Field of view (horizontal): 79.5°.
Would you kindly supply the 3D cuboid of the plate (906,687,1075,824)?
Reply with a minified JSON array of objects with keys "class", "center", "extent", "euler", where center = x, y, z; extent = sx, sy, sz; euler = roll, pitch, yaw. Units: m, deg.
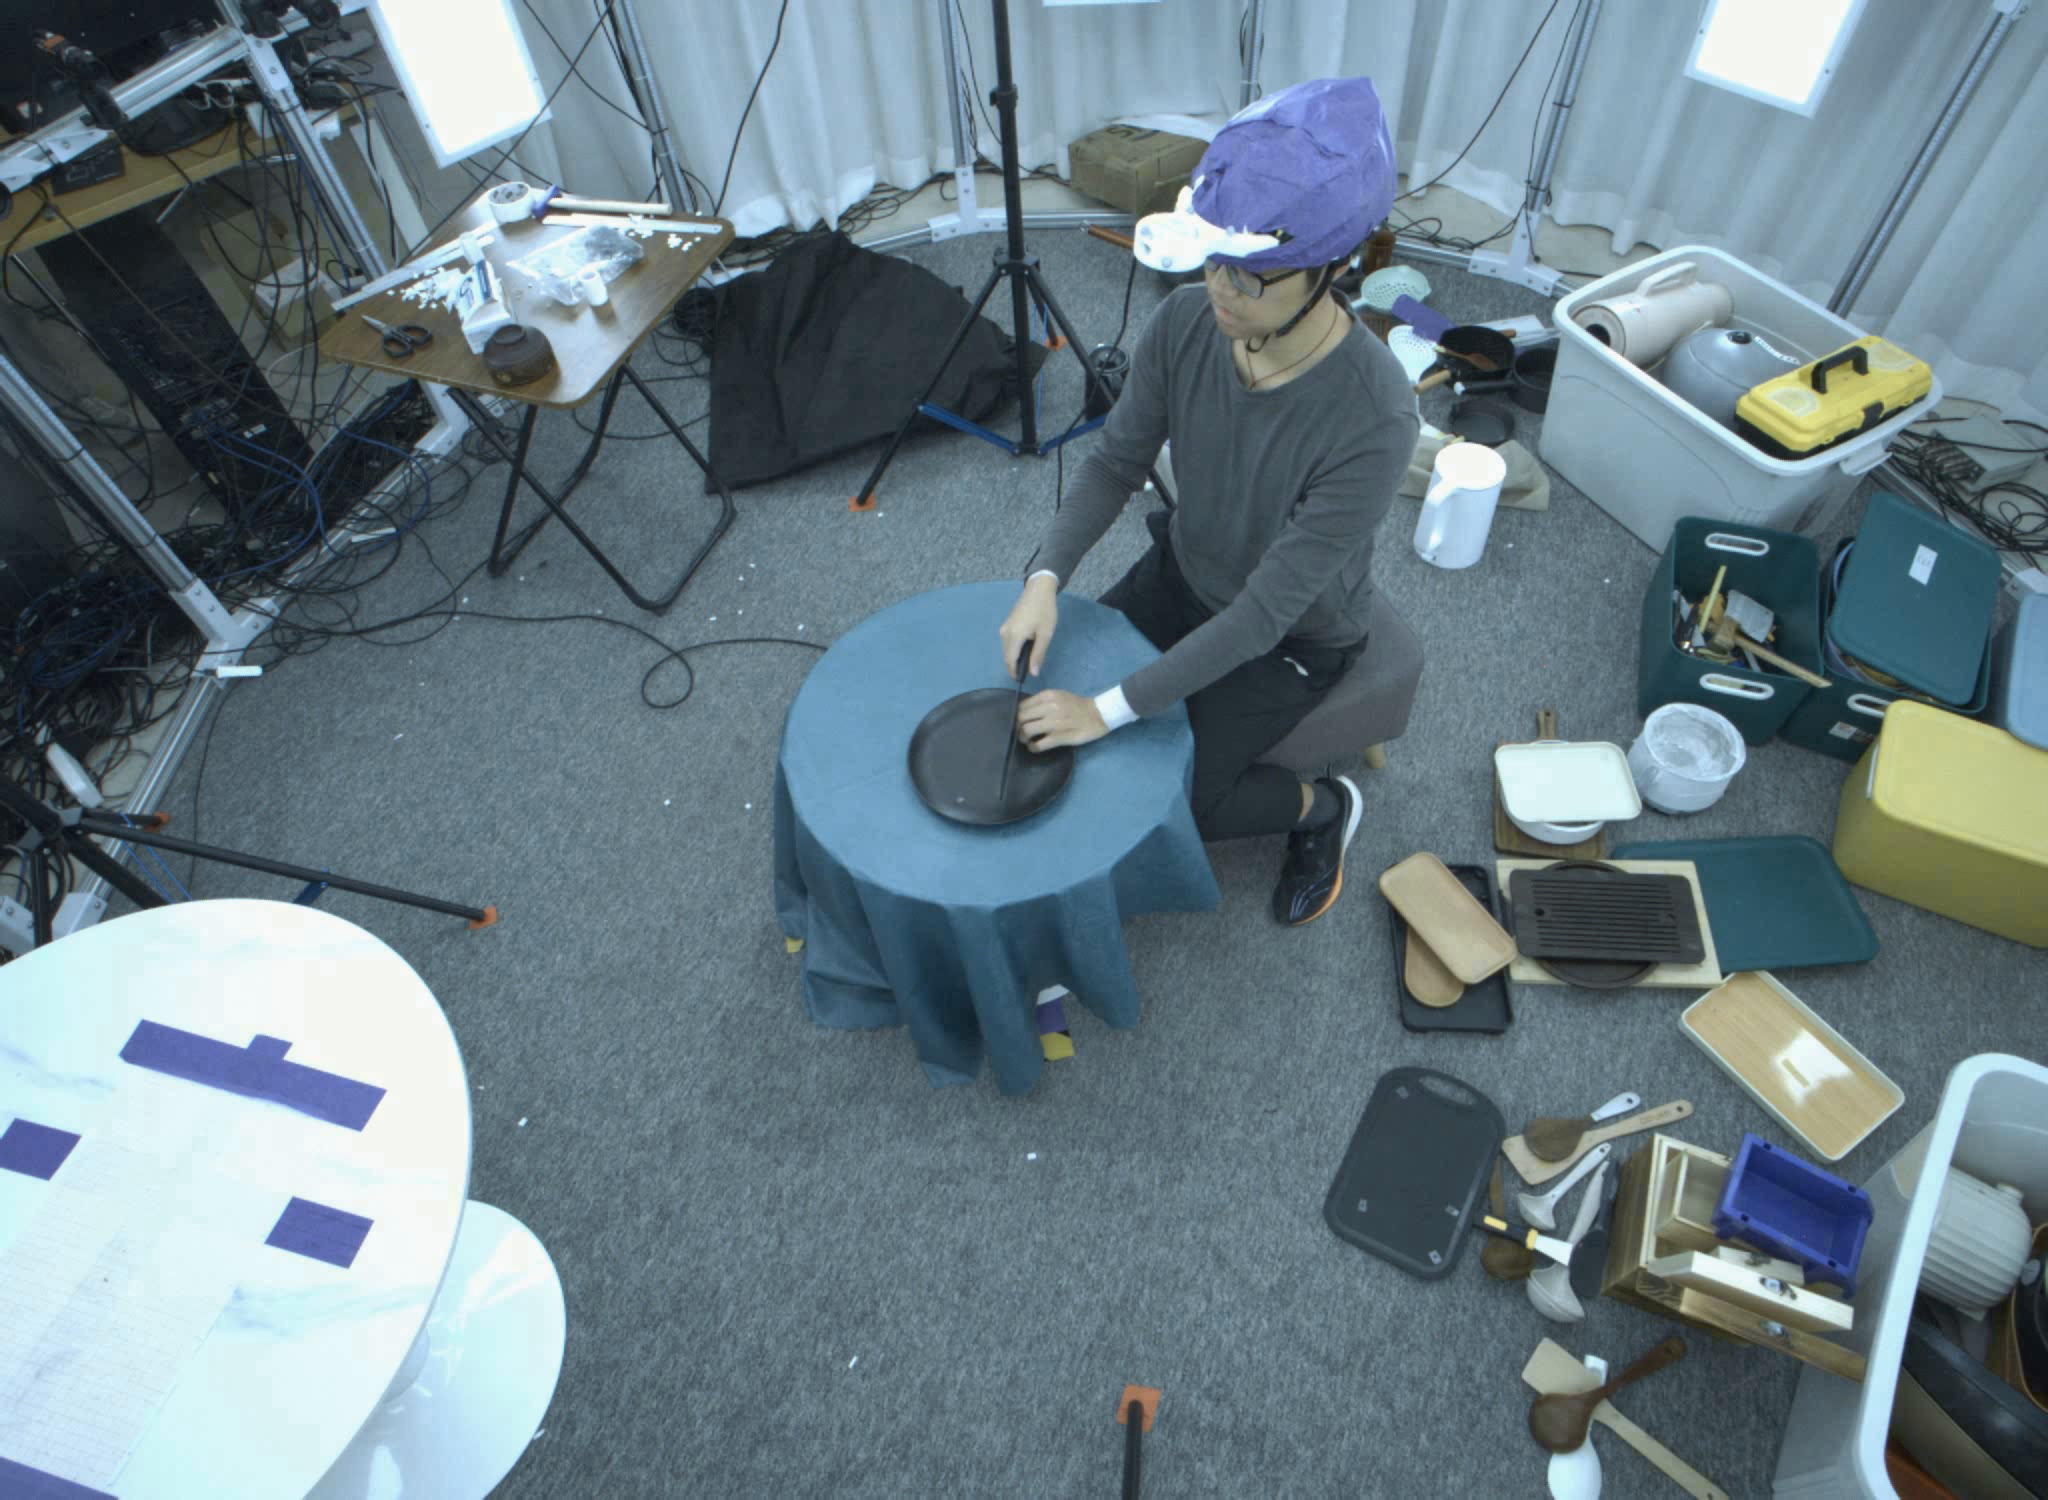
[{"class":"plate","center":[-0.048,0.009,1.776],"extent":[0.244,0.023,0.242],"euler":[0,54,1]}]

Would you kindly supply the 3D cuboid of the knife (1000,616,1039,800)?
[{"class":"knife","center":[-0.009,-0.069,1.772],"extent":[0.021,0.081,0.300],"euler":[8,62,4]}]
